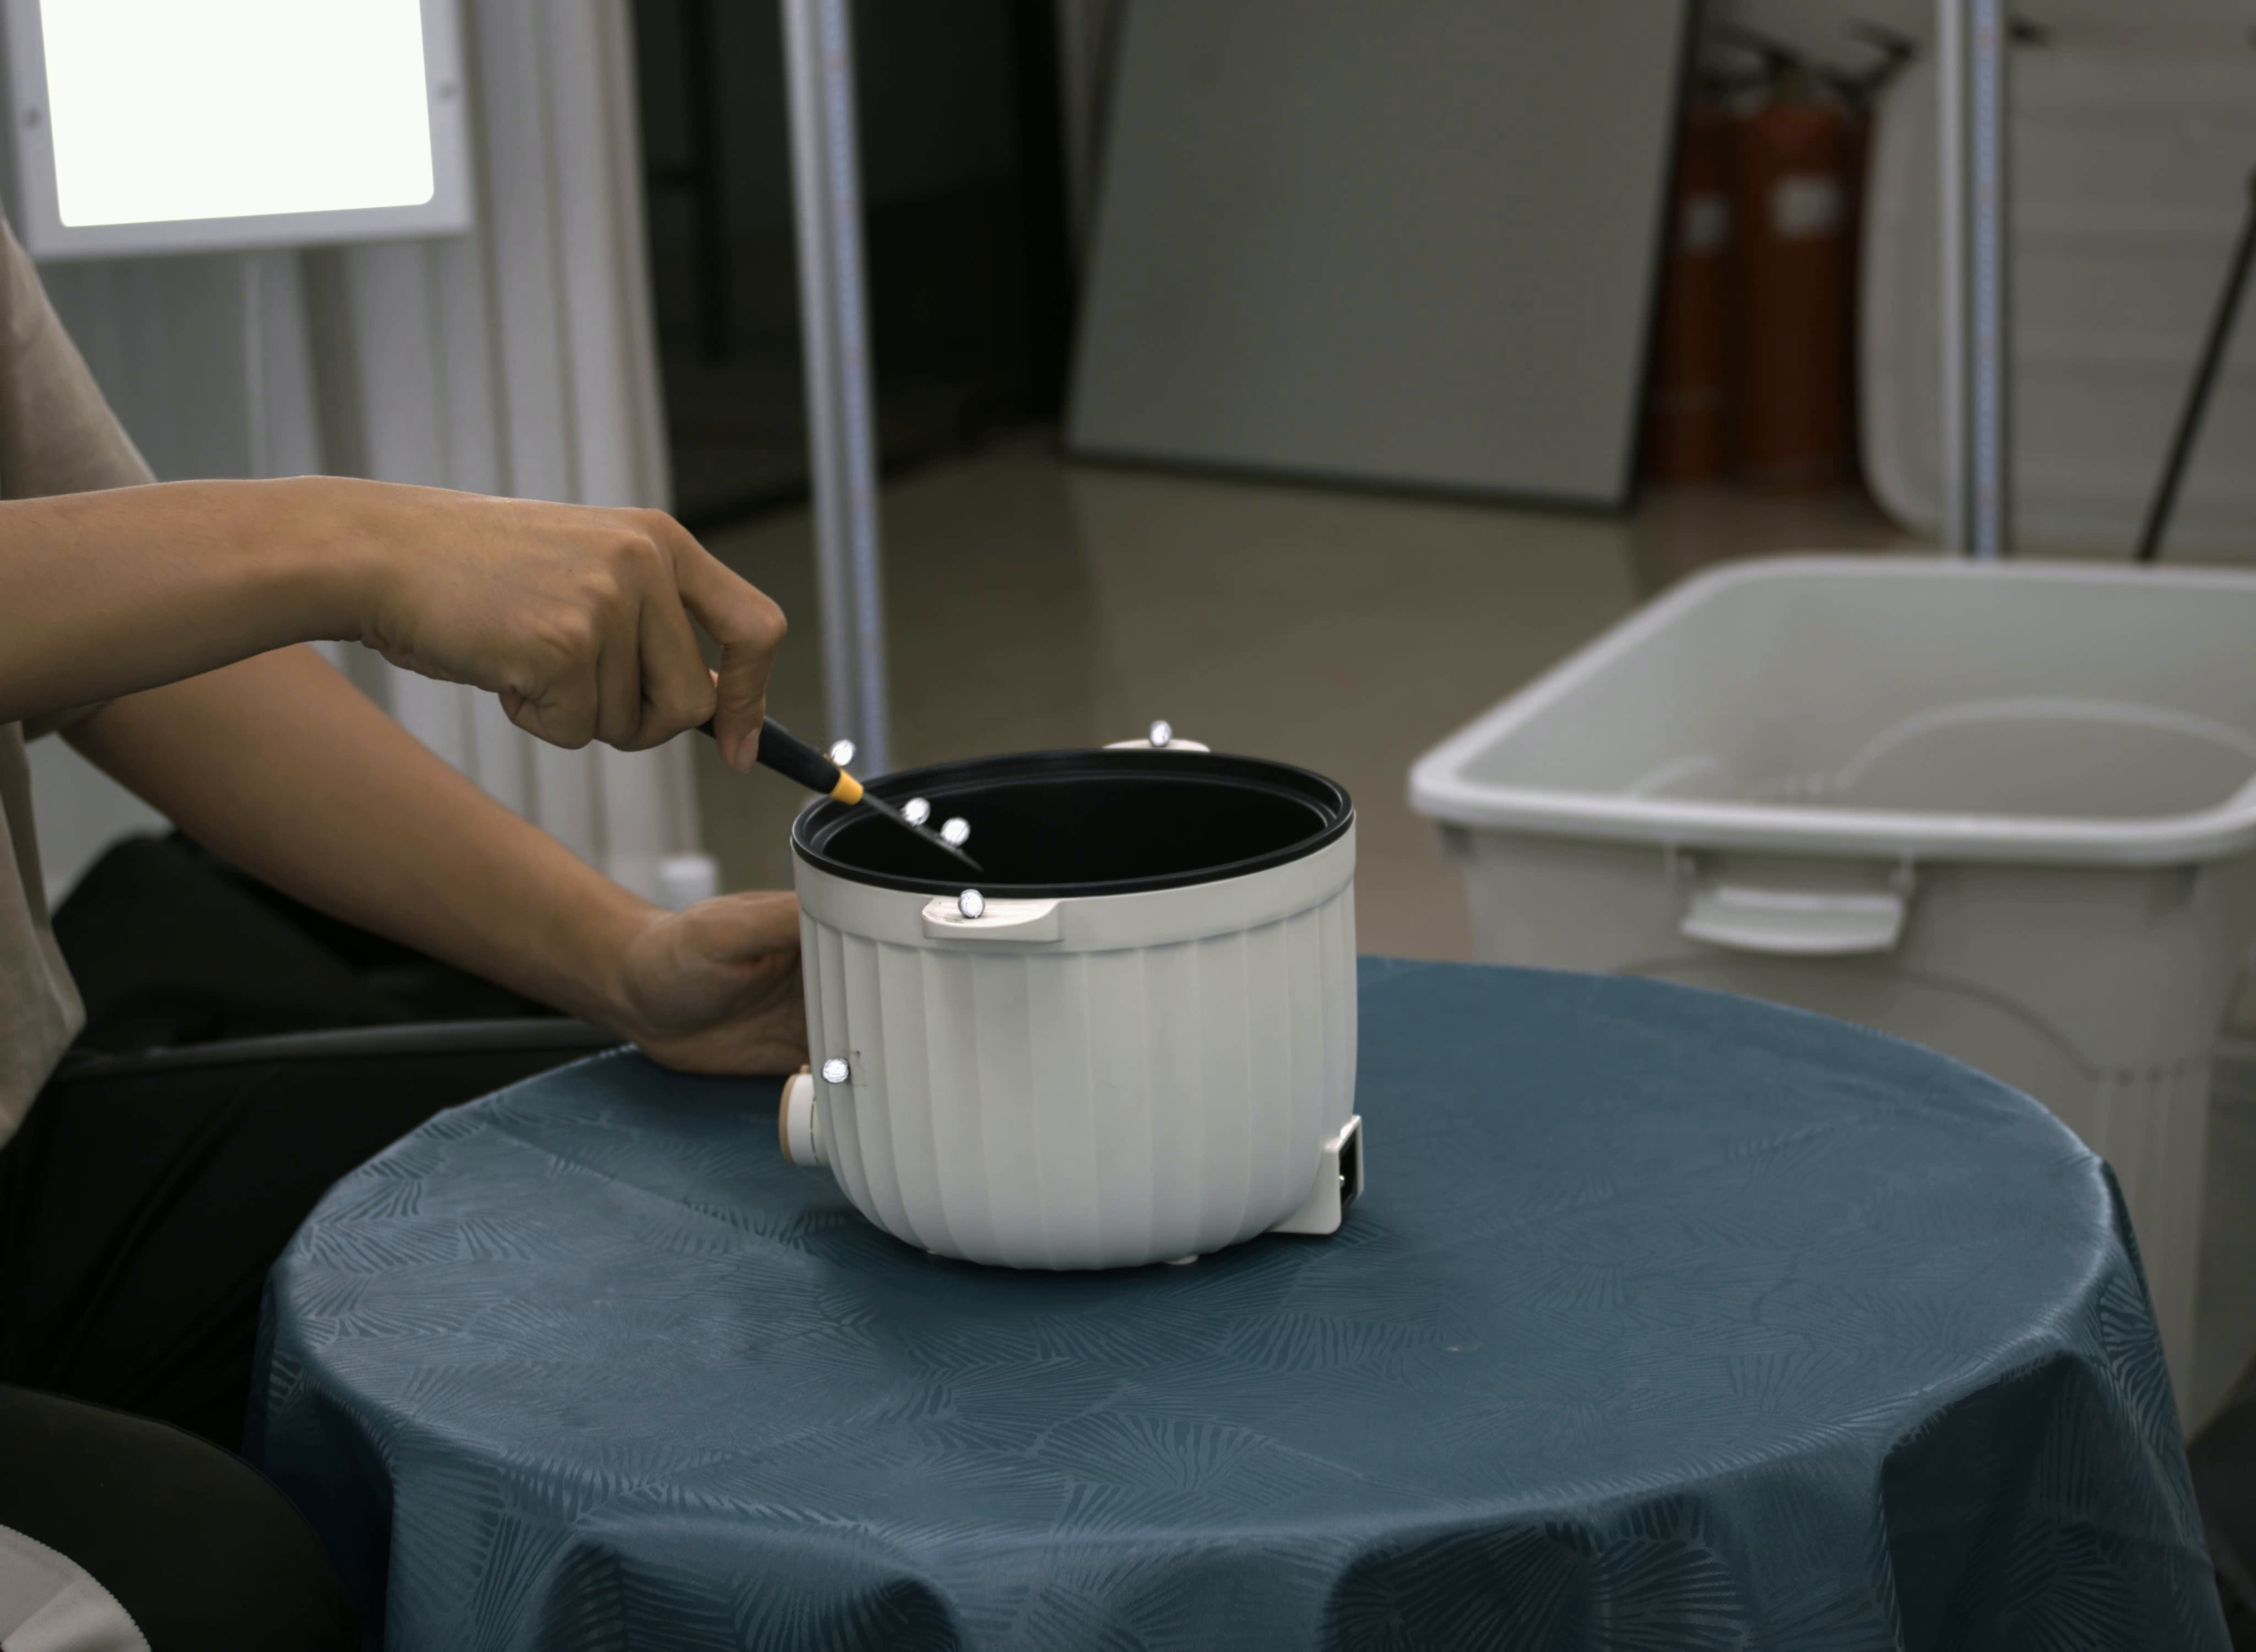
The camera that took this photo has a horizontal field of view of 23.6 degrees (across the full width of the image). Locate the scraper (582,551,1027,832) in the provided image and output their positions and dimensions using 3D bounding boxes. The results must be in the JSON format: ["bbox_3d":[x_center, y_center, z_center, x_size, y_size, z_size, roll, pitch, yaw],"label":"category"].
[{"bbox_3d":[-0.099,-0.041,1.679,0.168,0.015,0.039,30,9,-29],"label":"scraper"}]

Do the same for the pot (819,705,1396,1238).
[{"bbox_3d":[-0.007,0.050,1.747,0.189,0.144,0.238,4,14,14],"label":"pot"}]
